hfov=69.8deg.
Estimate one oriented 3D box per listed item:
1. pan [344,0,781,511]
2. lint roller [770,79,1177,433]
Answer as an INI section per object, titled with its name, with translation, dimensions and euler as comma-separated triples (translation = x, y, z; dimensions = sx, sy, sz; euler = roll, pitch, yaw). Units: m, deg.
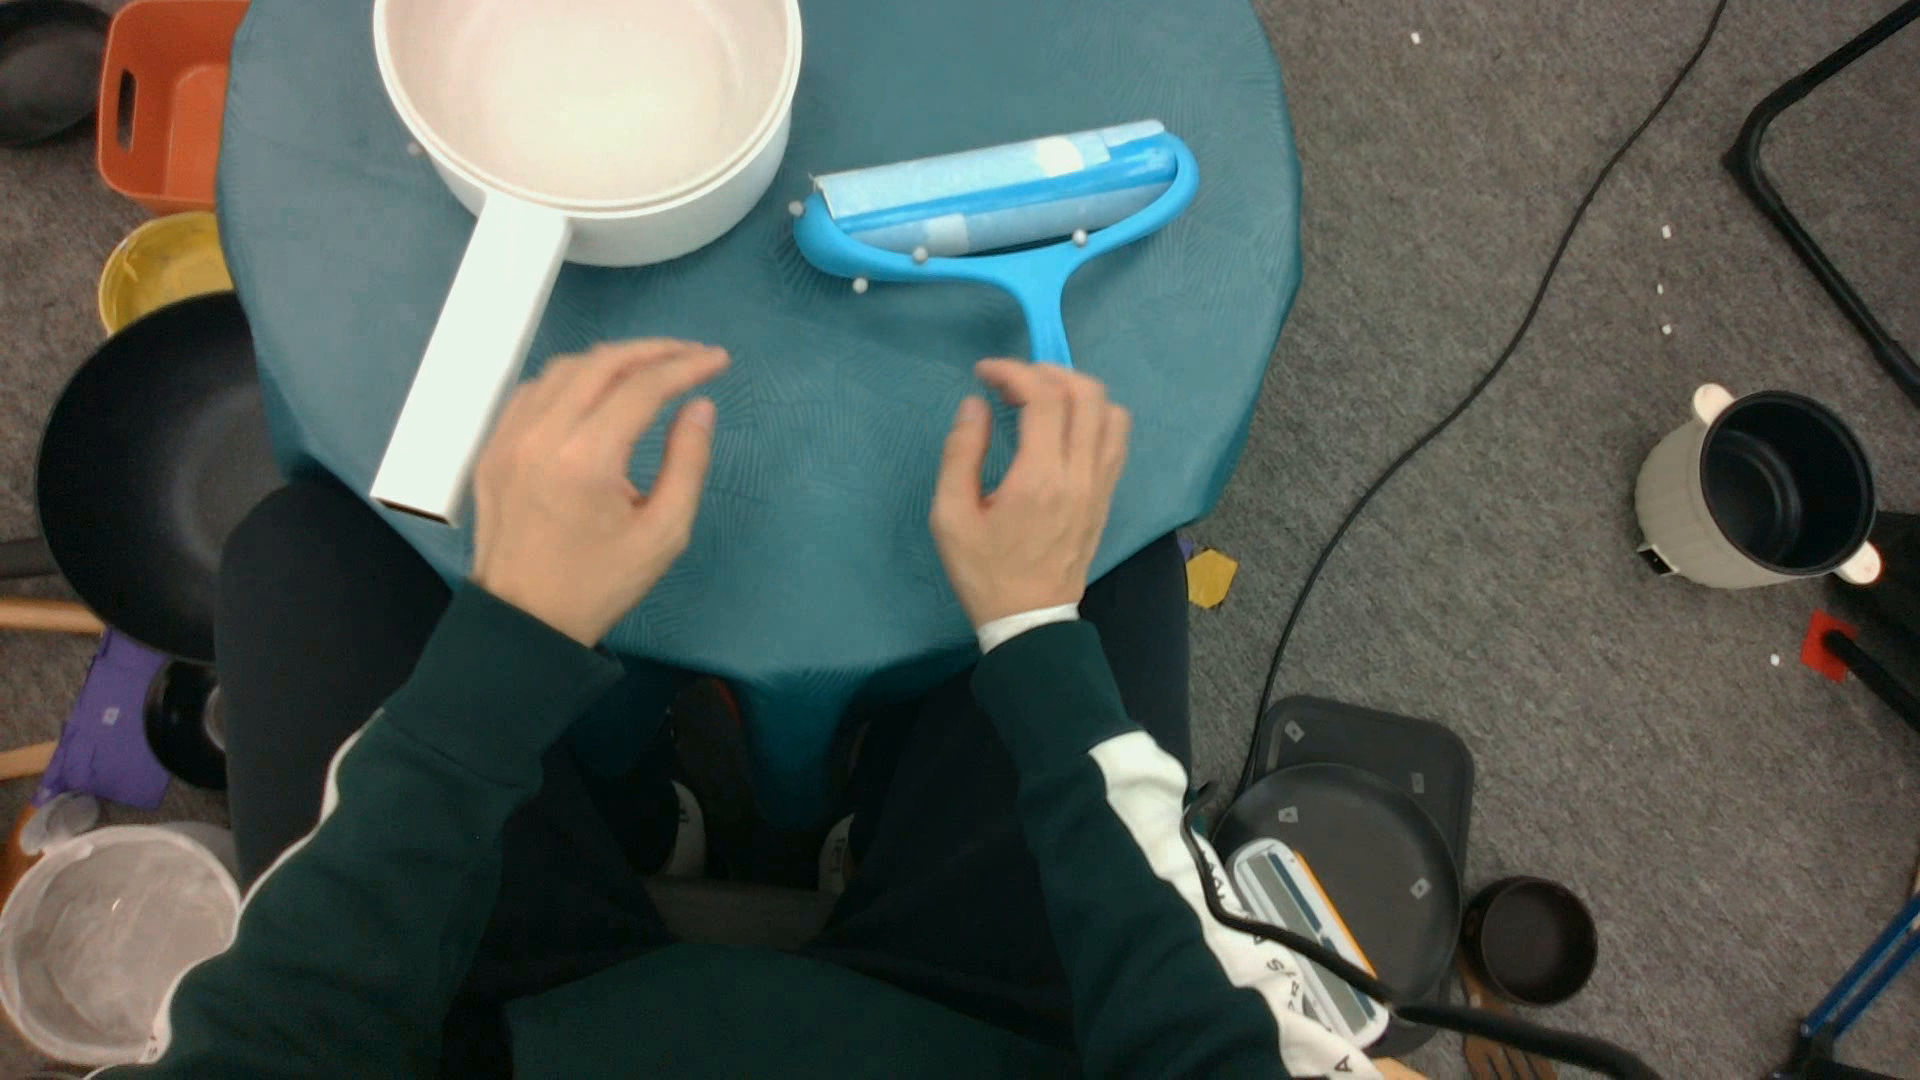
[pan]
translation = -0.214, -0.181, 0.689
dimensions = 0.201, 0.102, 0.355
euler = 17, 78, -7
[lint roller]
translation = 0.028, -0.151, 0.745
dimensions = 0.229, 0.068, 0.180
euler = -17, 82, -13
